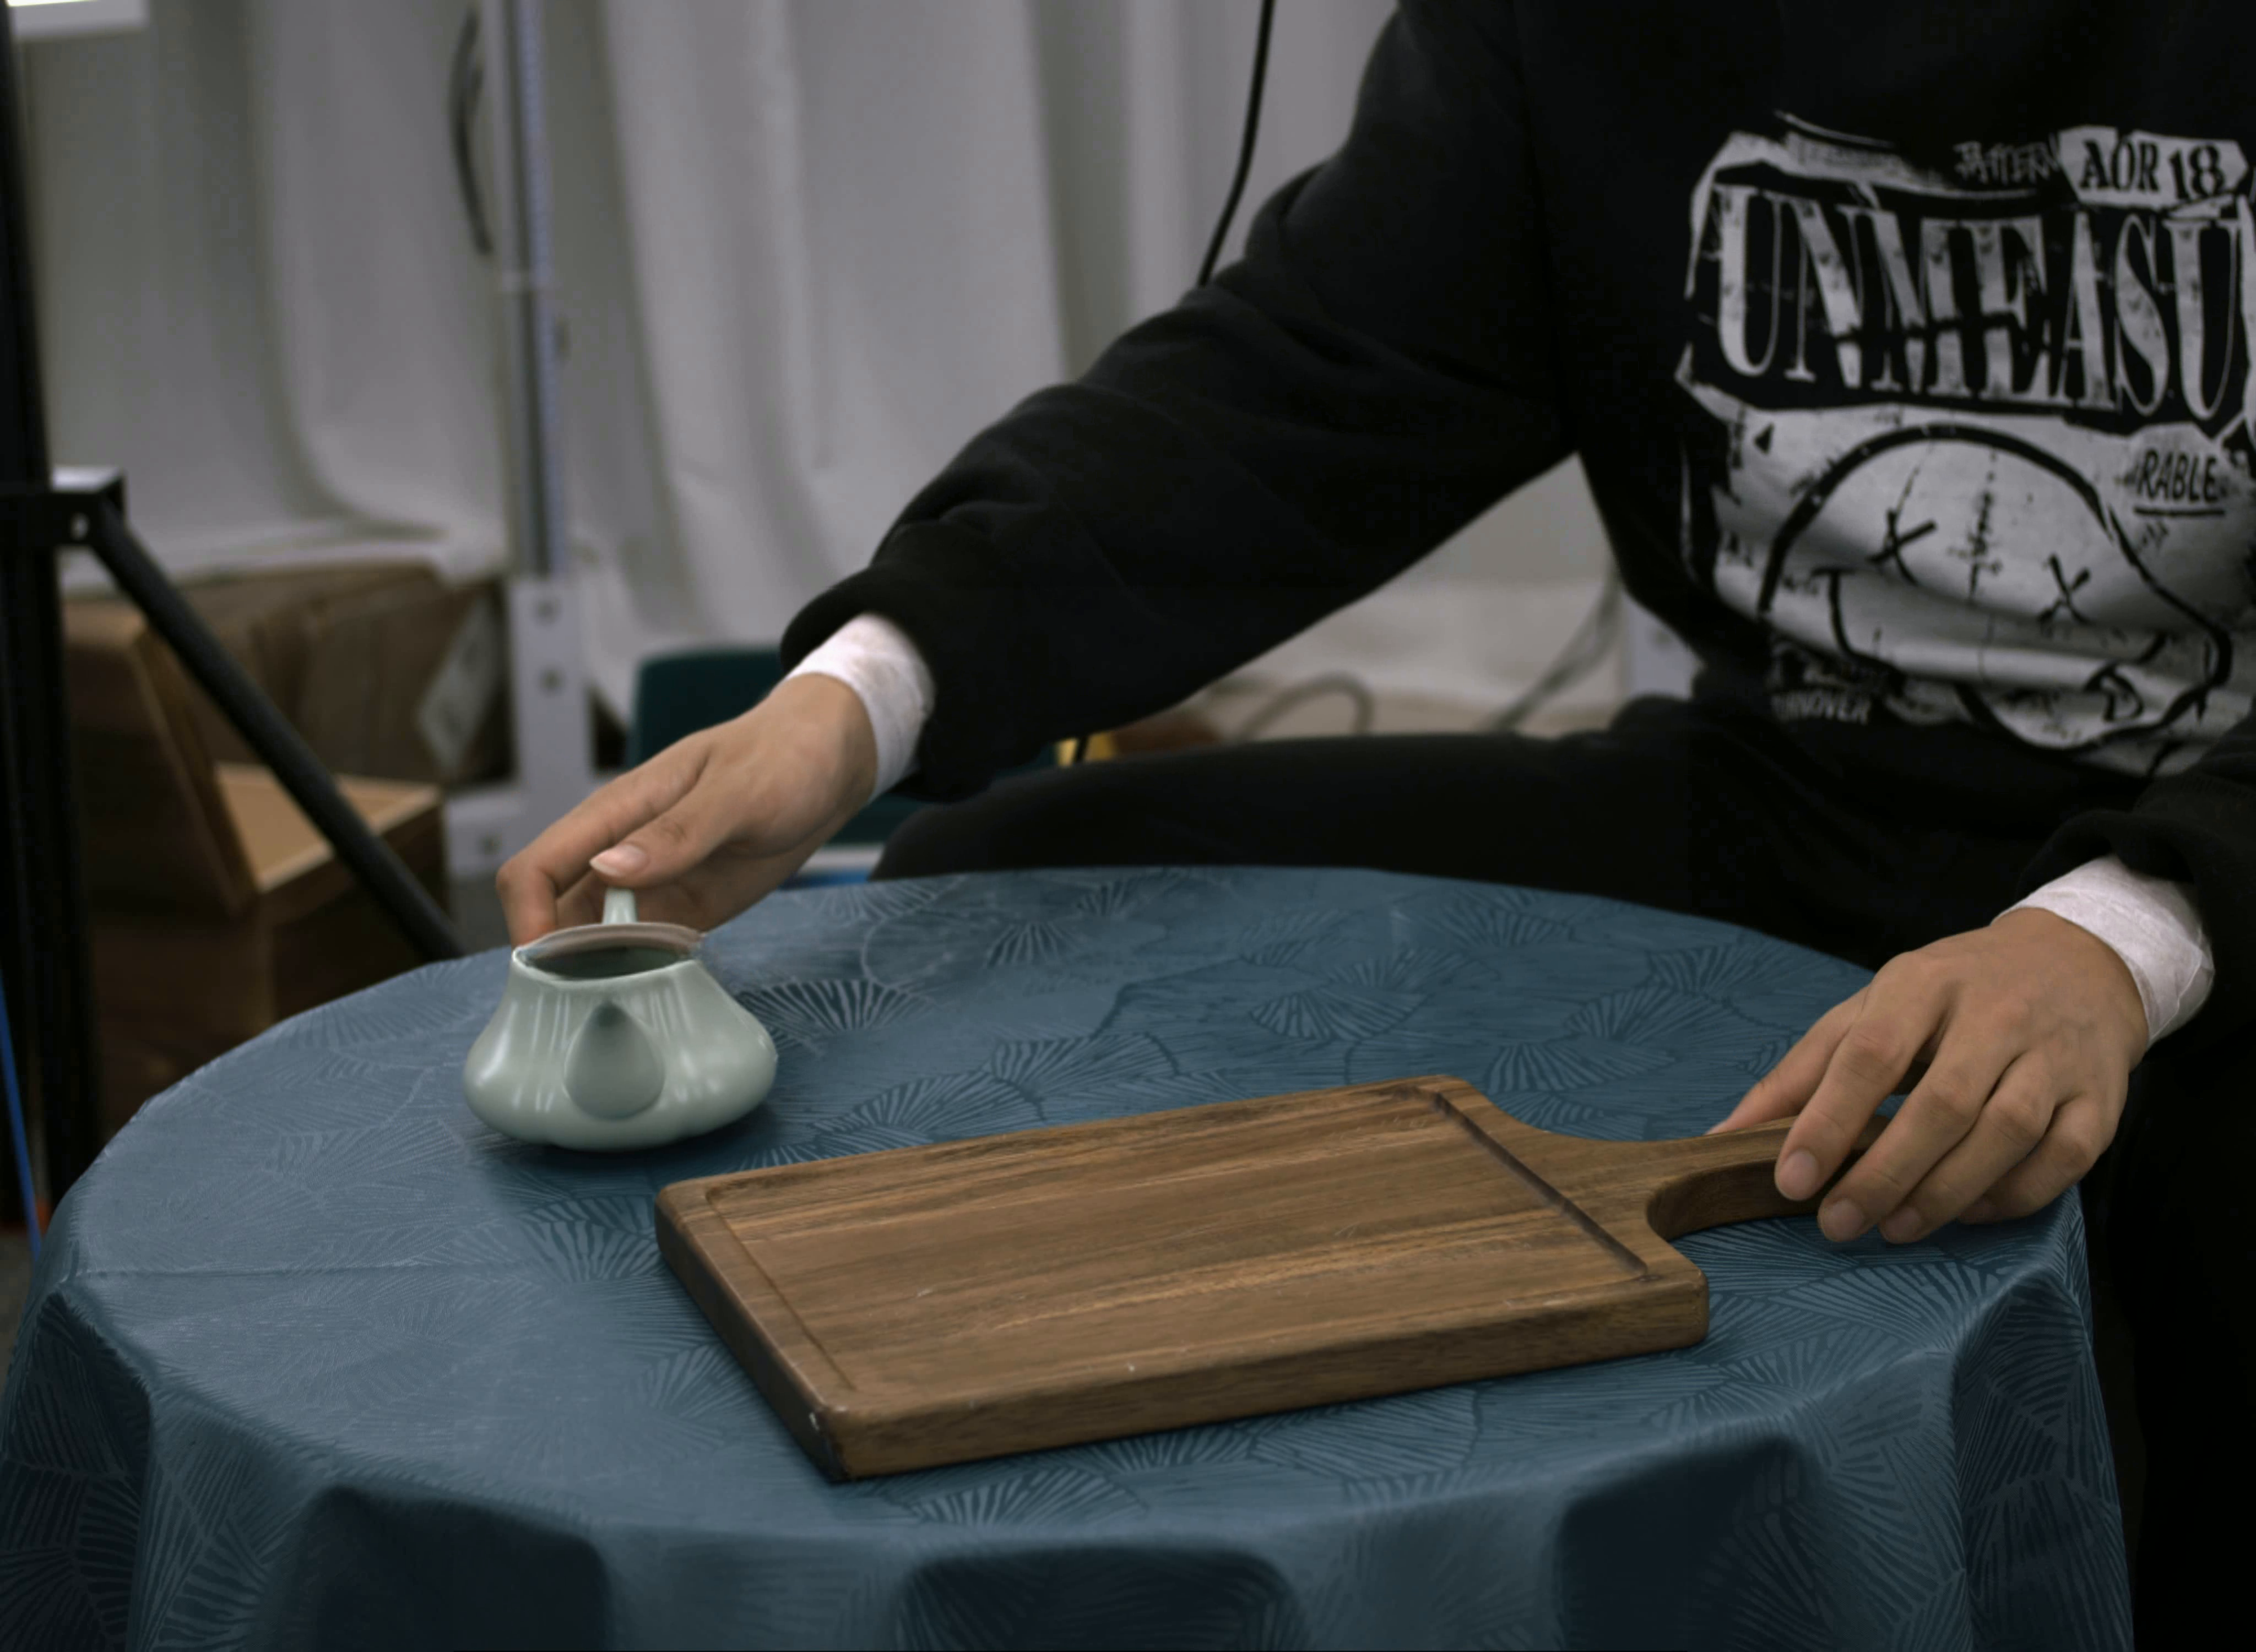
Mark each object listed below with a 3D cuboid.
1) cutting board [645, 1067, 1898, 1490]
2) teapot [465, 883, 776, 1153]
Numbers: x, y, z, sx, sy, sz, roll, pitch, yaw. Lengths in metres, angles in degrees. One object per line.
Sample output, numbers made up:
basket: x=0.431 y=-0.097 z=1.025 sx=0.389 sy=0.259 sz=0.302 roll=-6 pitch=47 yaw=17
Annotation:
cutting board: x=0.057 y=0.115 z=1.482 sx=0.346 sy=0.023 sz=0.204 roll=-8 pitch=17 yaw=-16
teapot: x=-0.156 y=0.062 z=1.634 sx=0.095 sy=0.061 sz=0.138 roll=-5 pitch=16 yaw=-4
